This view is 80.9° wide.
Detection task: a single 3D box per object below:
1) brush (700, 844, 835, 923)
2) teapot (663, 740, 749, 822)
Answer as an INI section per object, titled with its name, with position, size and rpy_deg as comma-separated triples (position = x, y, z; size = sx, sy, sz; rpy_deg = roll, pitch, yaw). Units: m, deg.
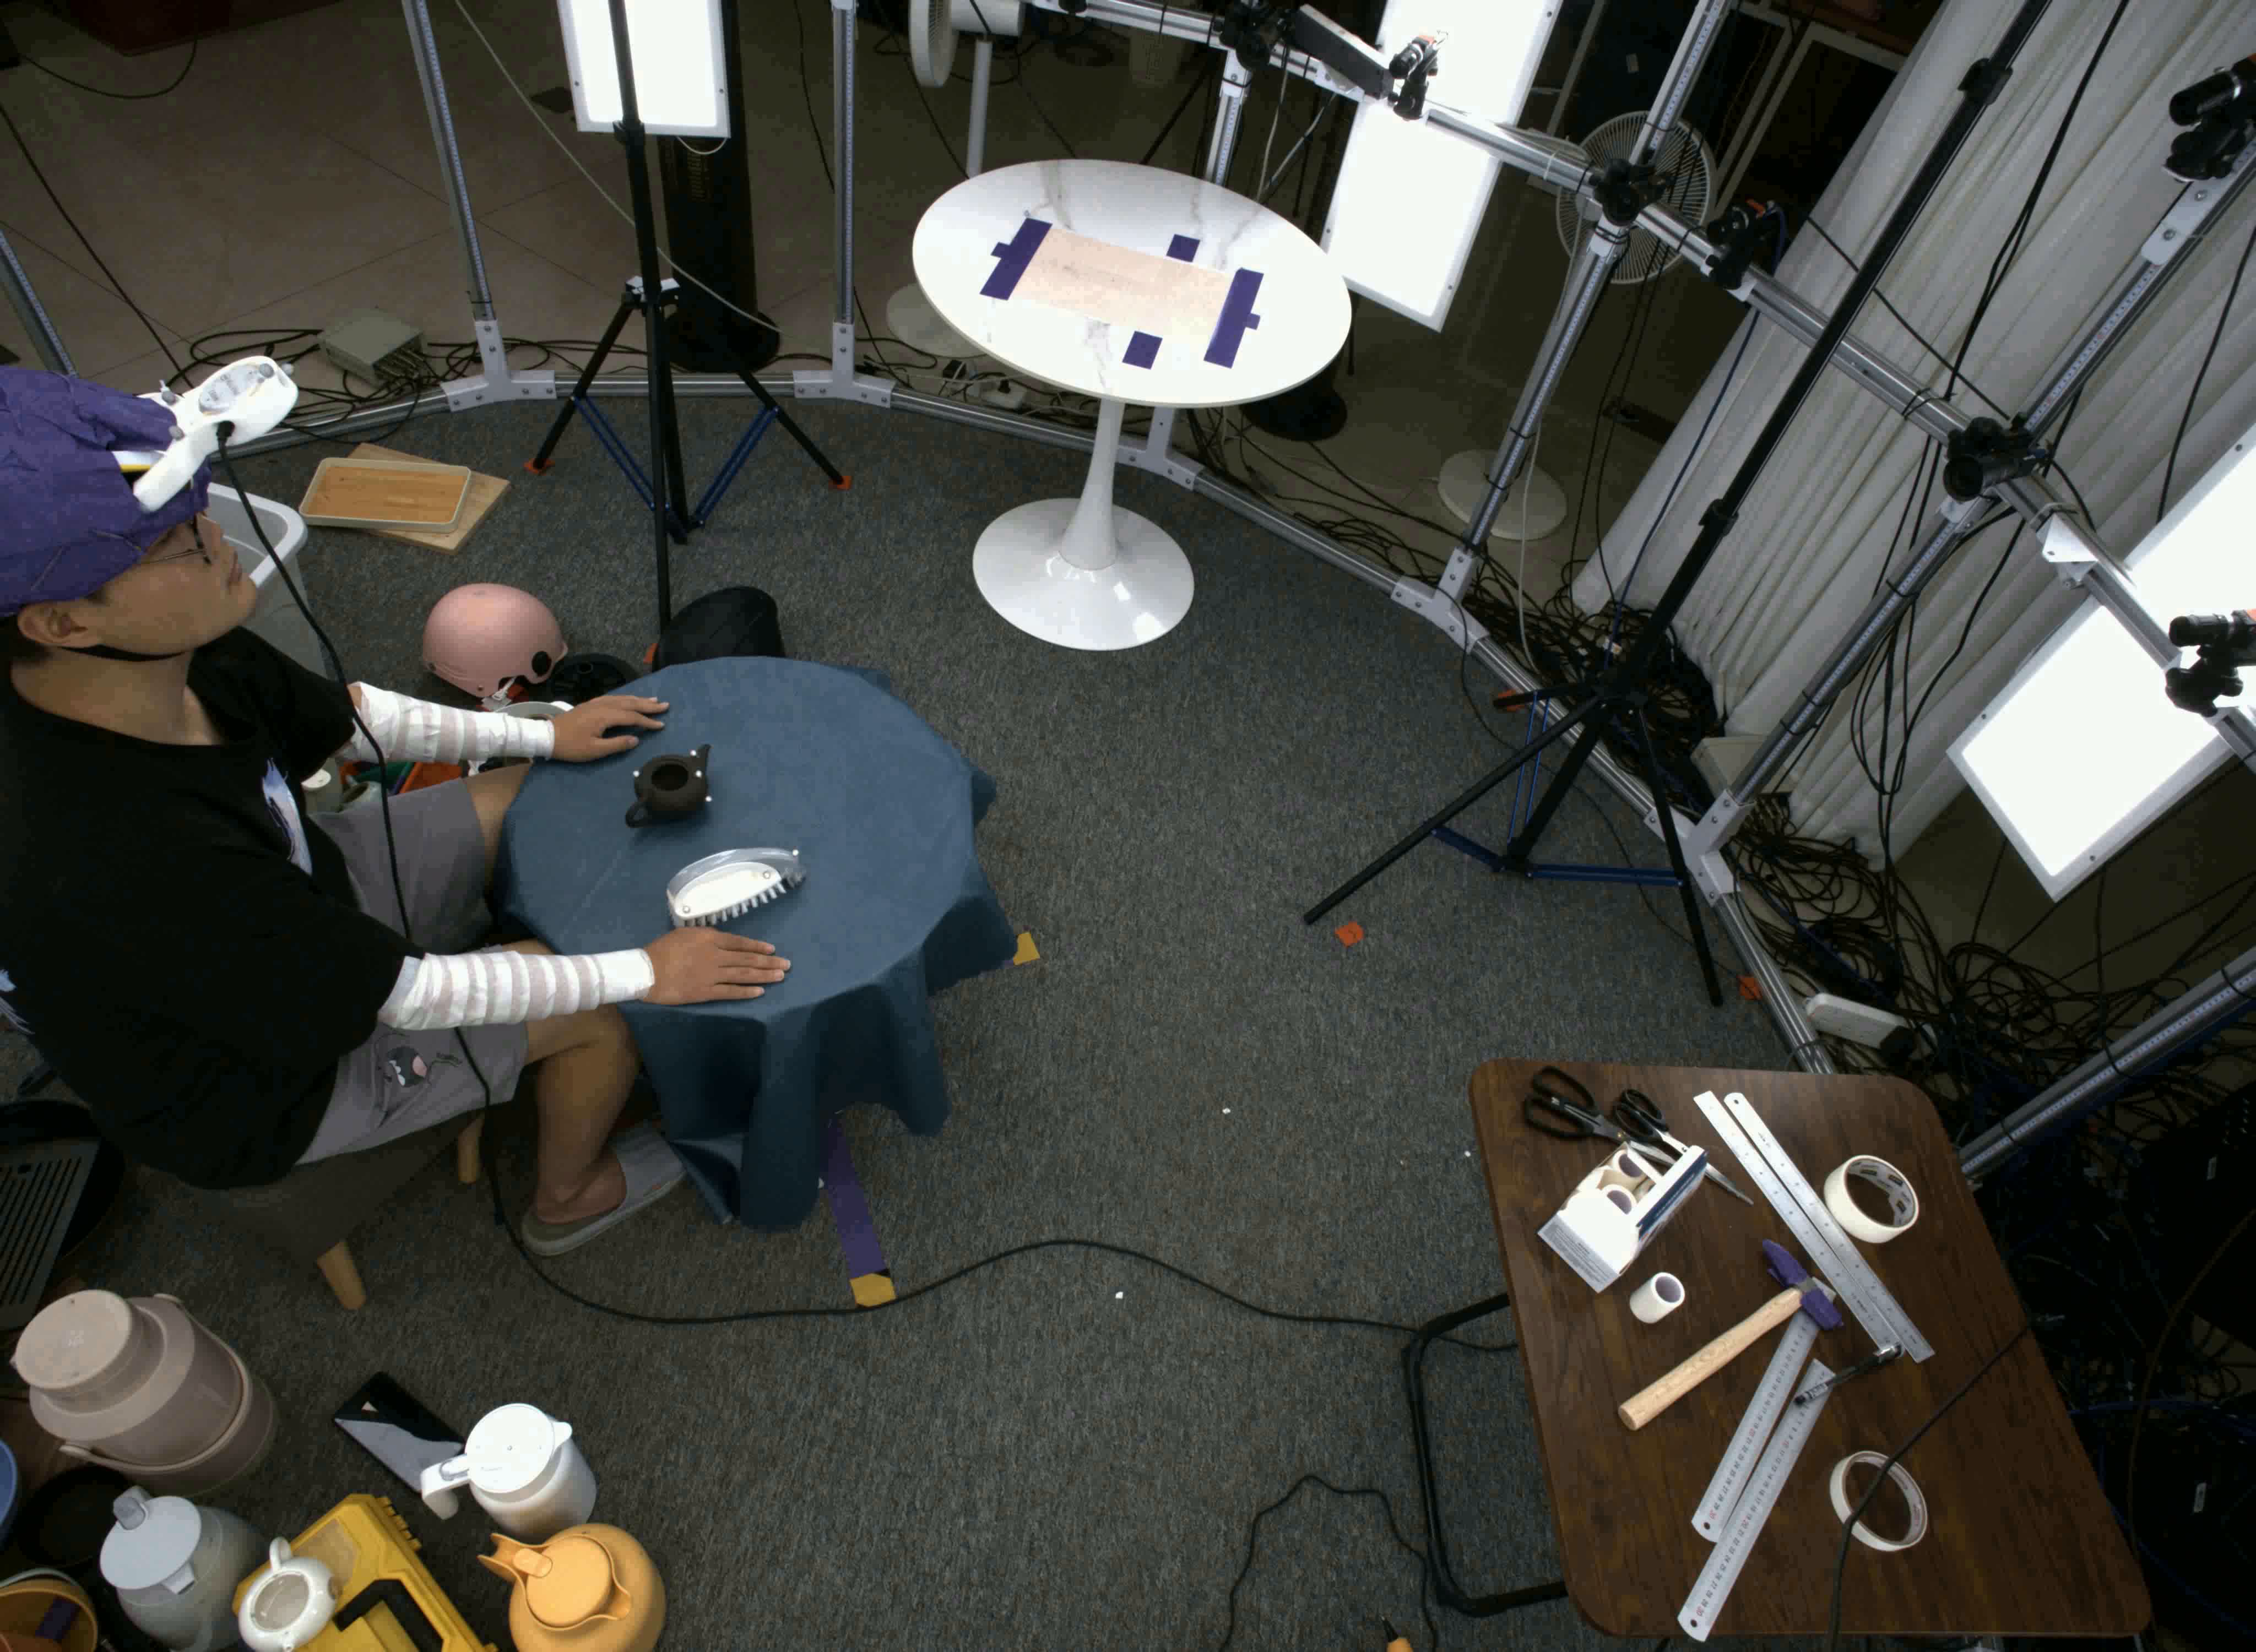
[brush]
position = -0.451, 0.054, 1.629
size = 0.176, 0.096, 0.060
rpy_deg = -17, 61, -26
[teapot]
position = -0.555, -0.058, 1.703
size = 0.090, 0.066, 0.154
rpy_deg = 33, 52, 13
